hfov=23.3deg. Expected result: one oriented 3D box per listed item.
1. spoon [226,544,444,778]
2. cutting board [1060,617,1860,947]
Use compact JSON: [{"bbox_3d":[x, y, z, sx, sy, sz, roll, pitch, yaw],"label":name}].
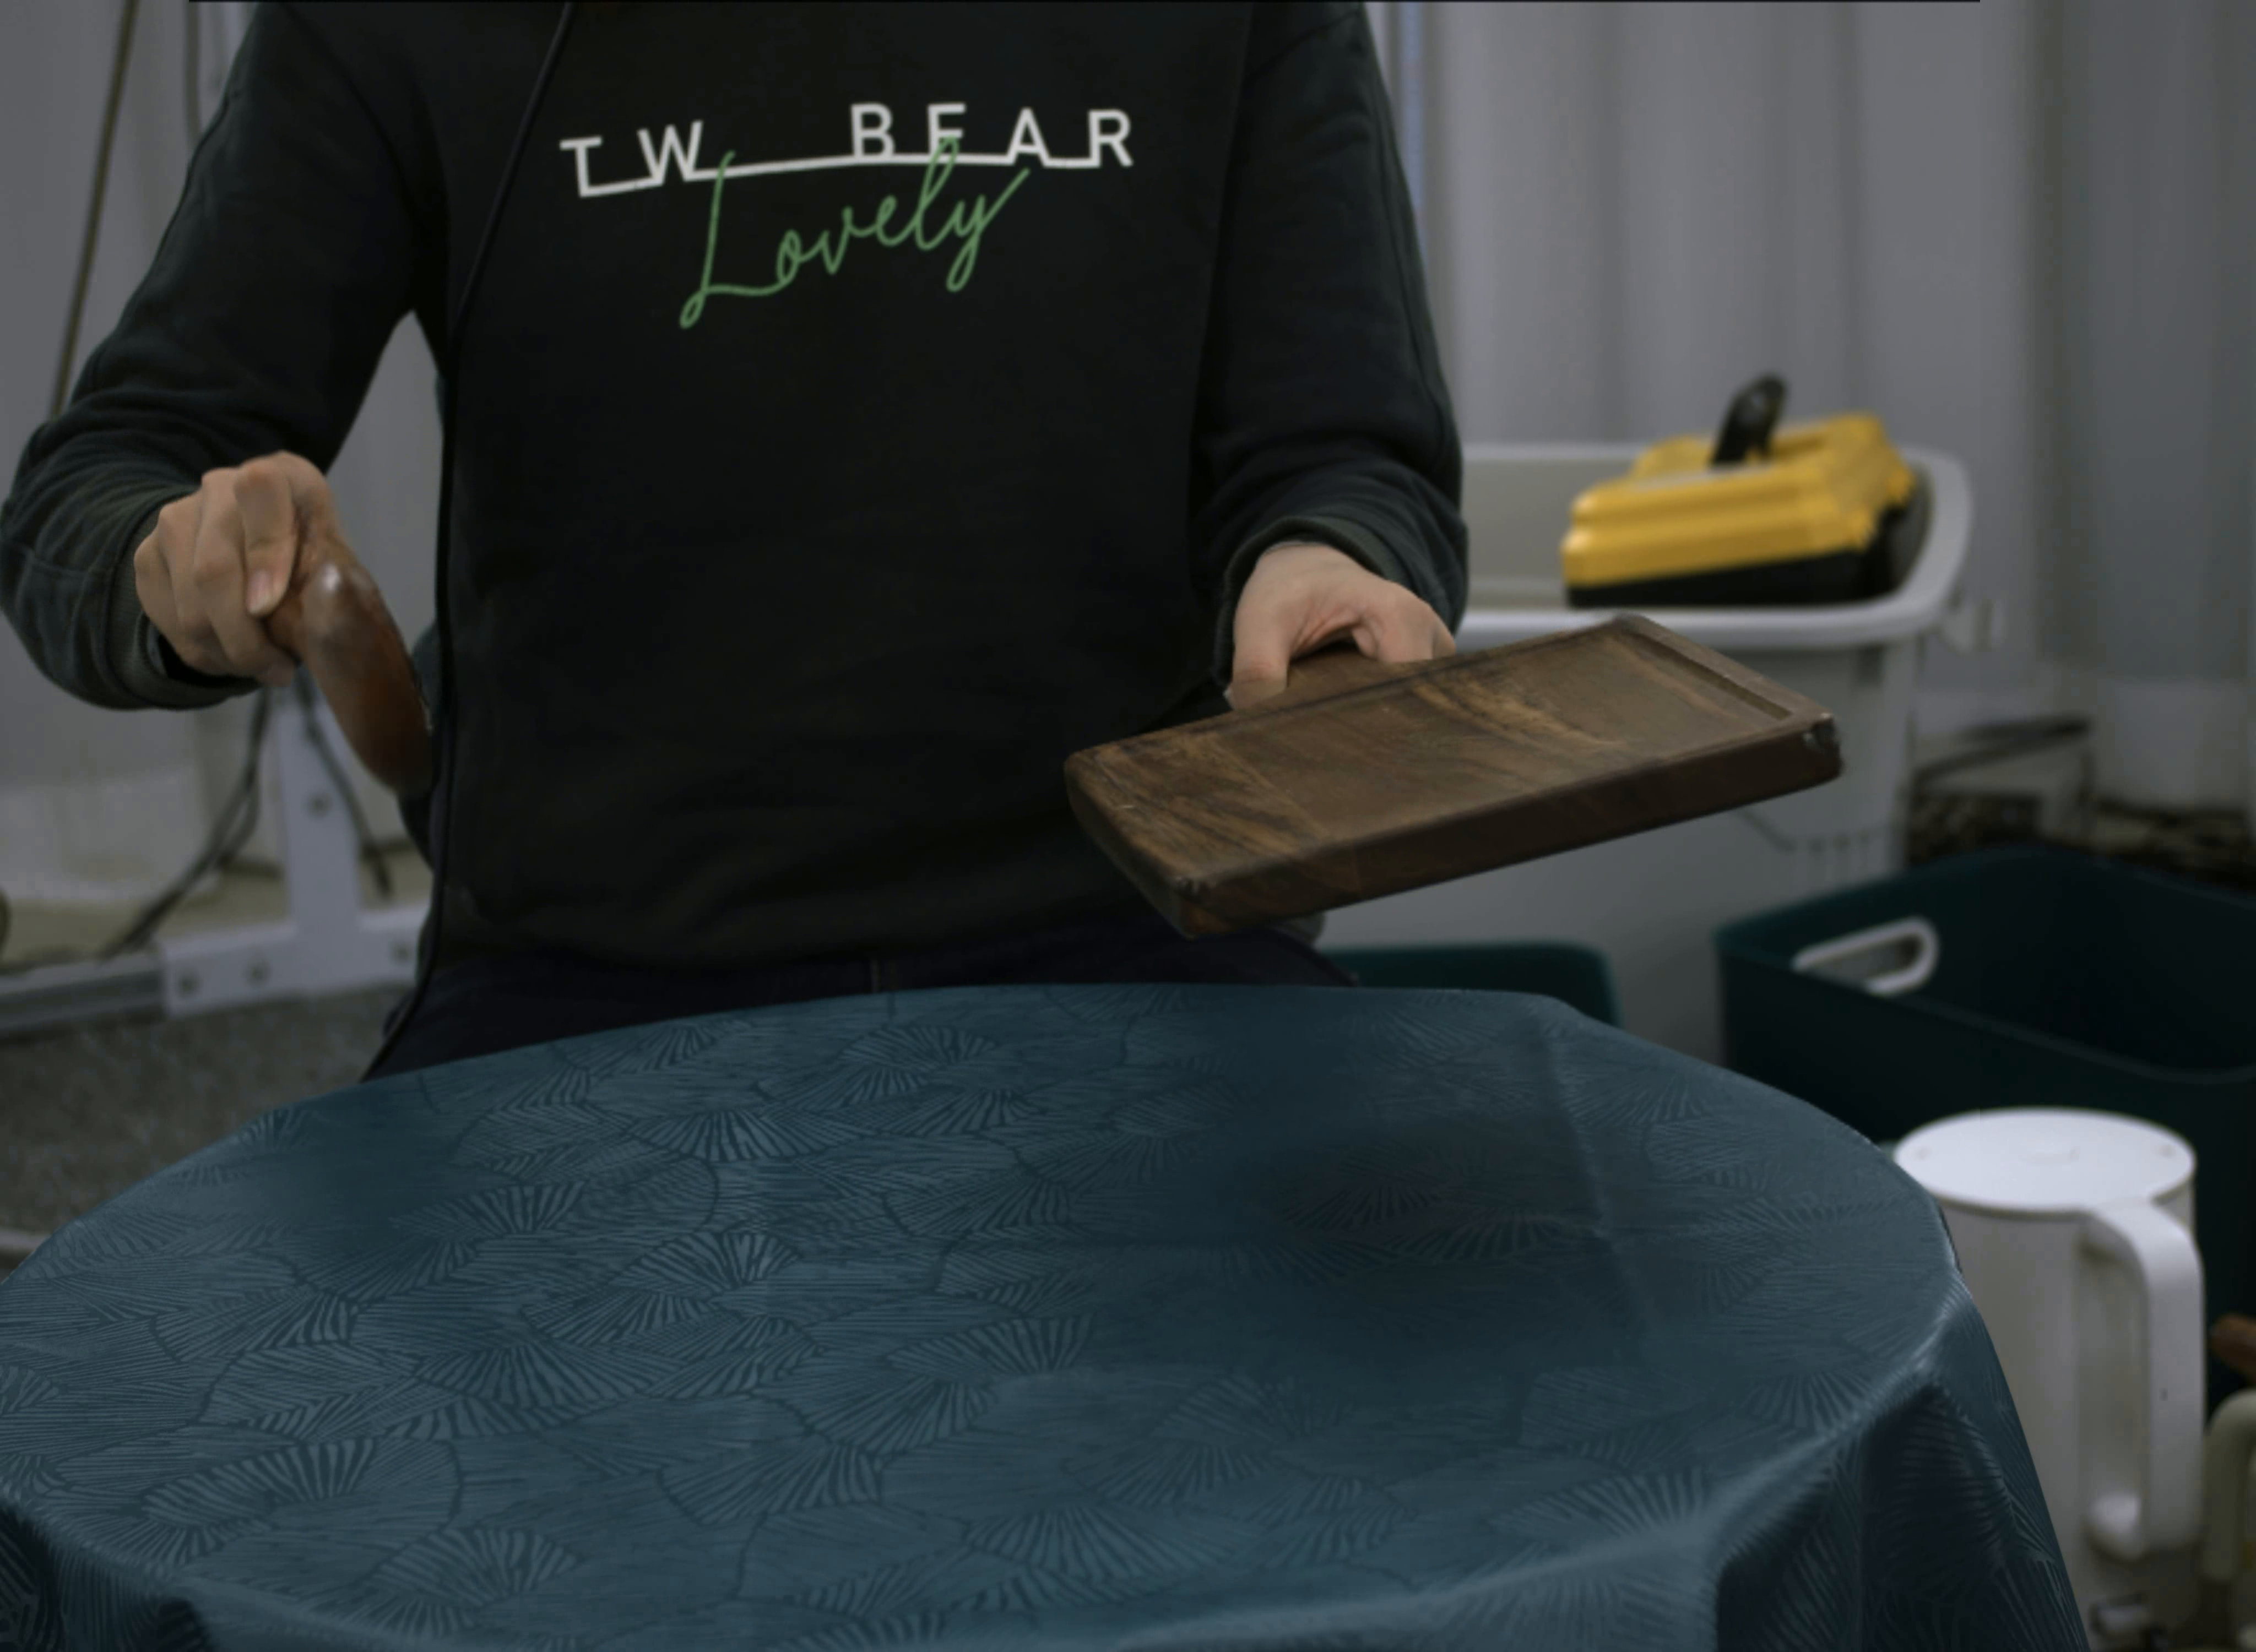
[{"bbox_3d":[-0.248,-0.058,1.675,0.017,0.075,0.217,-24,18,-15],"label":"spoon"},{"bbox_3d":[0.085,-0.024,1.688,0.200,0.023,0.354,-15,10,-6],"label":"cutting board"}]
